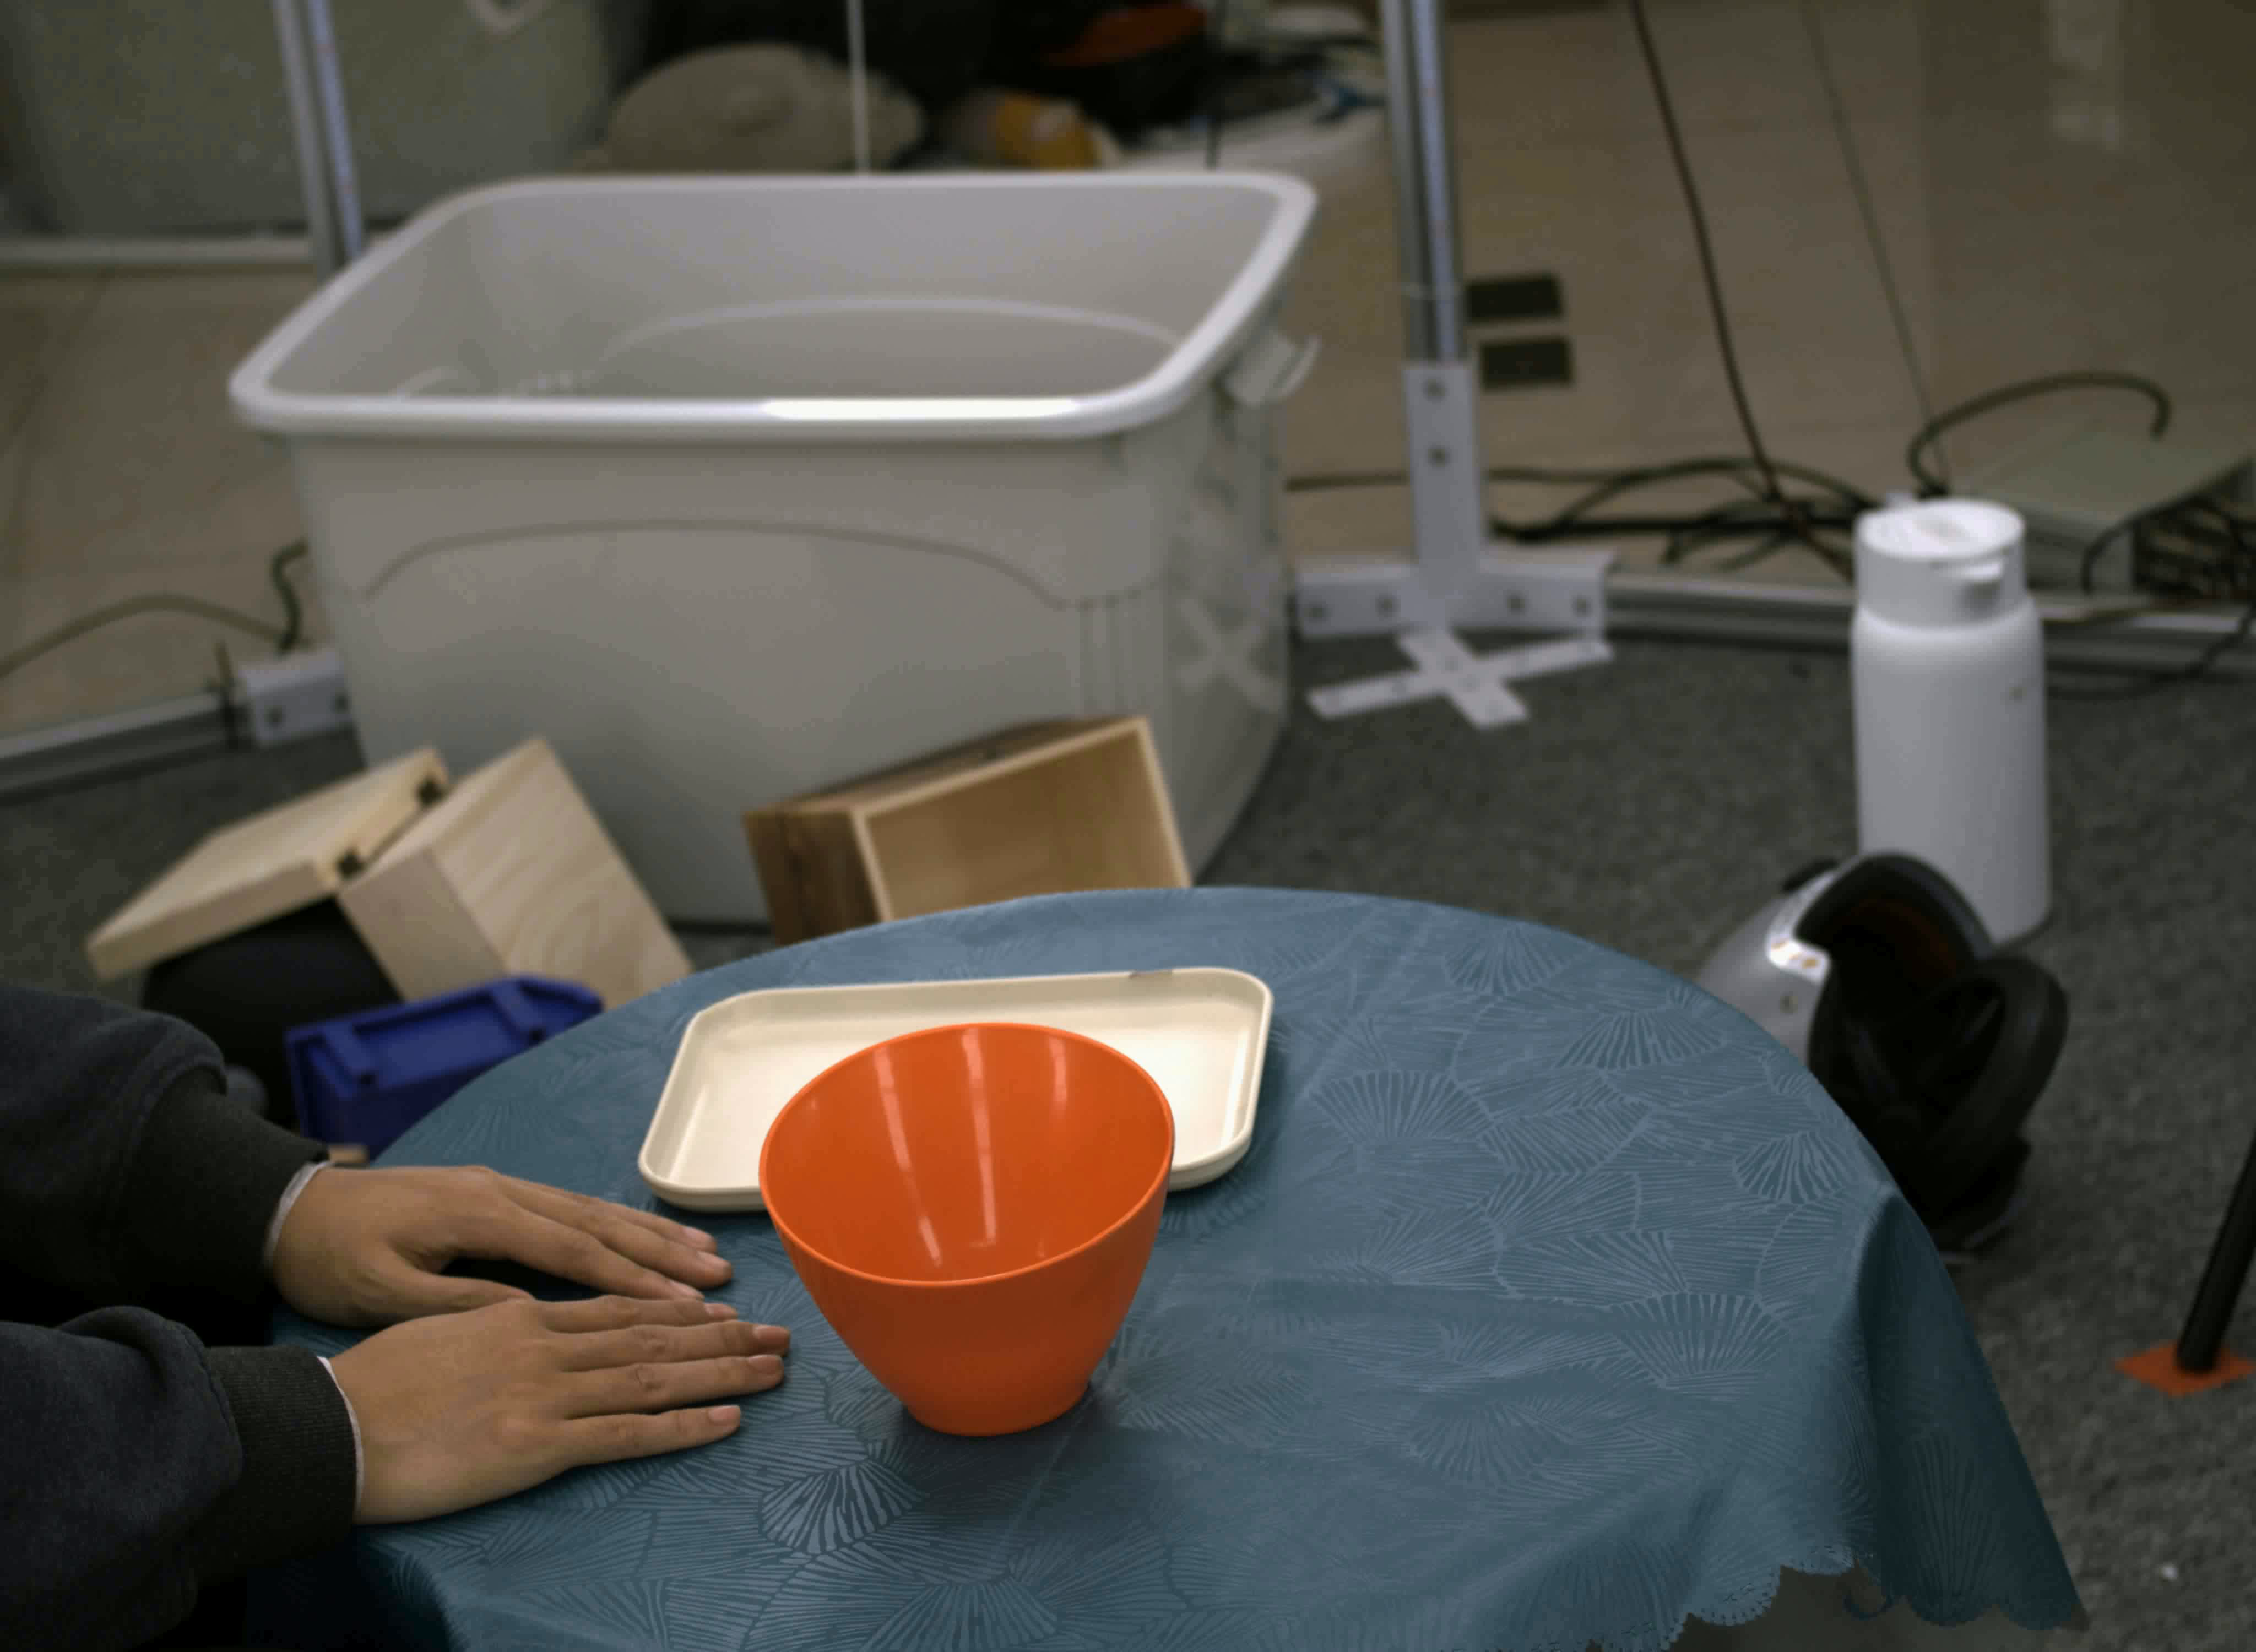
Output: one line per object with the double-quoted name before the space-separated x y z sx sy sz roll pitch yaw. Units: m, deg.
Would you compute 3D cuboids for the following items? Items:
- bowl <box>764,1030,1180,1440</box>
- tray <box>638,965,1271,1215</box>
"bowl" -0.052 0.151 2.012 0.148 0.106 0.146 -4 24 2
"tray" -0.065 0.104 2.217 0.239 0.018 0.169 -3 26 8
